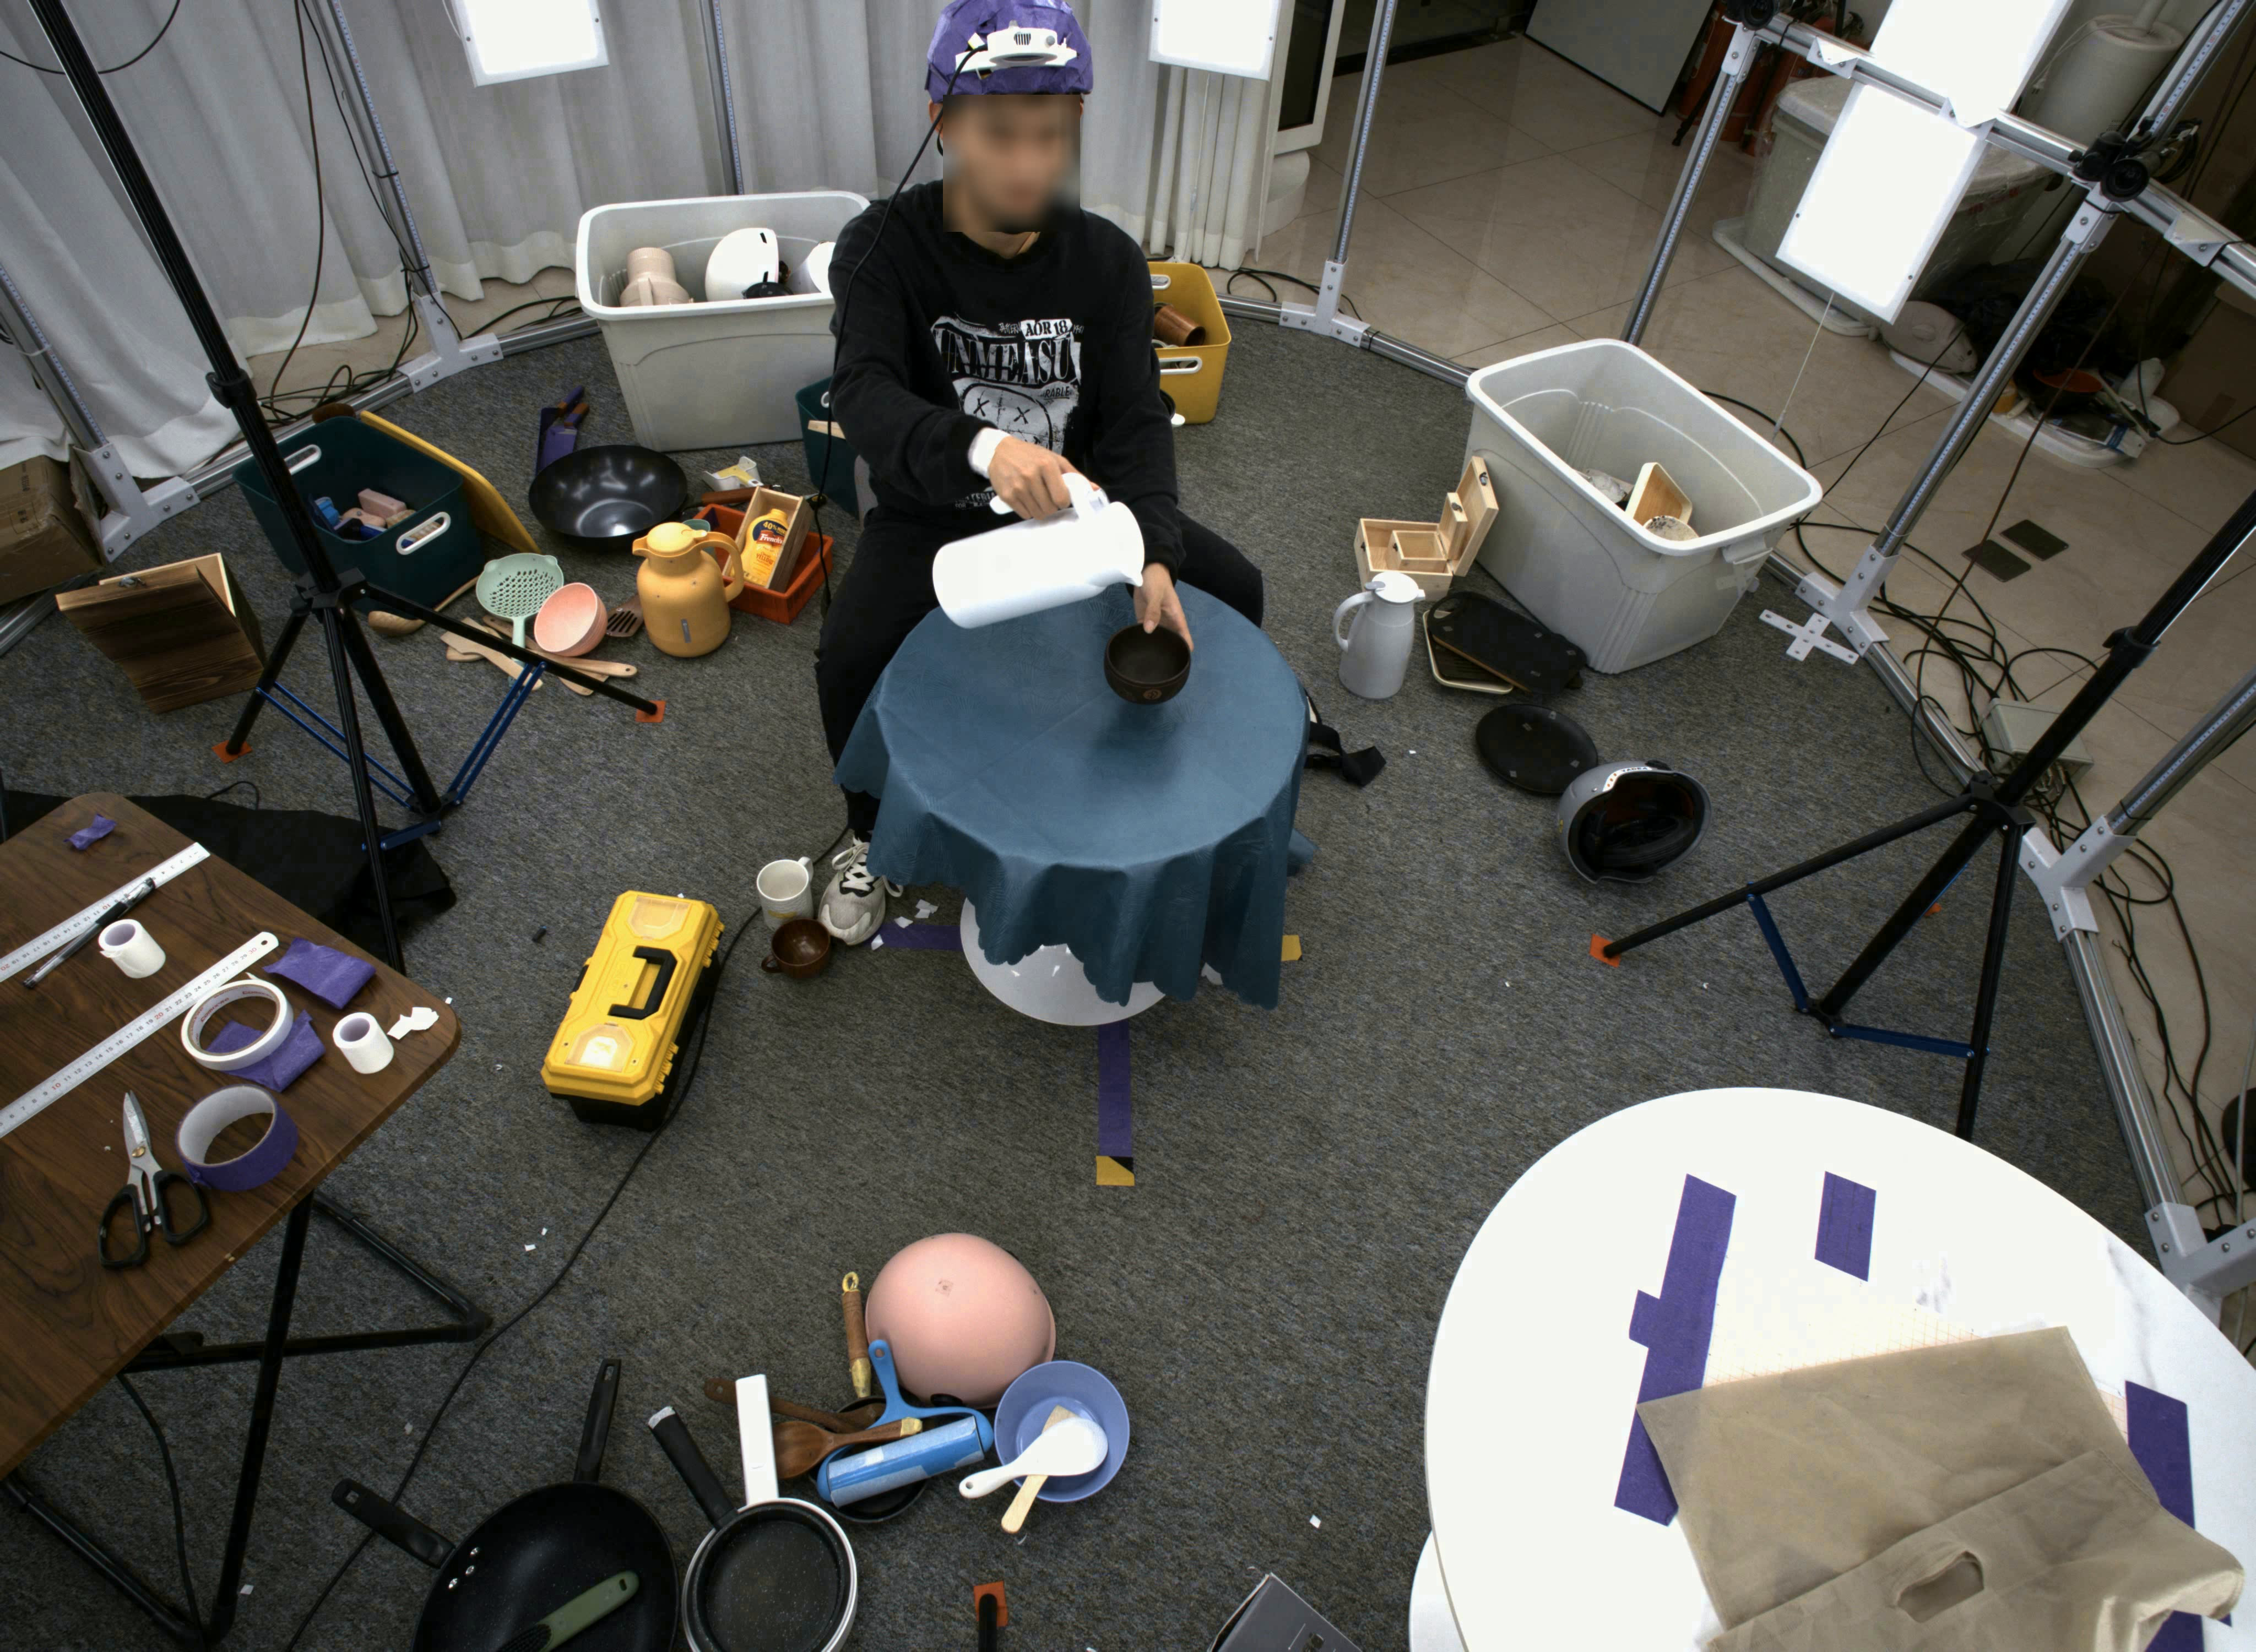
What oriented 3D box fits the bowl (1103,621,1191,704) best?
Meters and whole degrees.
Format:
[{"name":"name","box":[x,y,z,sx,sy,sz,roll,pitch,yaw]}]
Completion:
[{"name":"bowl","box":[0.024,-0.212,1.732,0.118,0.068,0.121,1,51,-2]}]

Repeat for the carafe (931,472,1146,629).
[{"name":"carafe","box":[-0.127,-0.351,1.664,0.269,0.169,0.126,-8,40,32]}]
